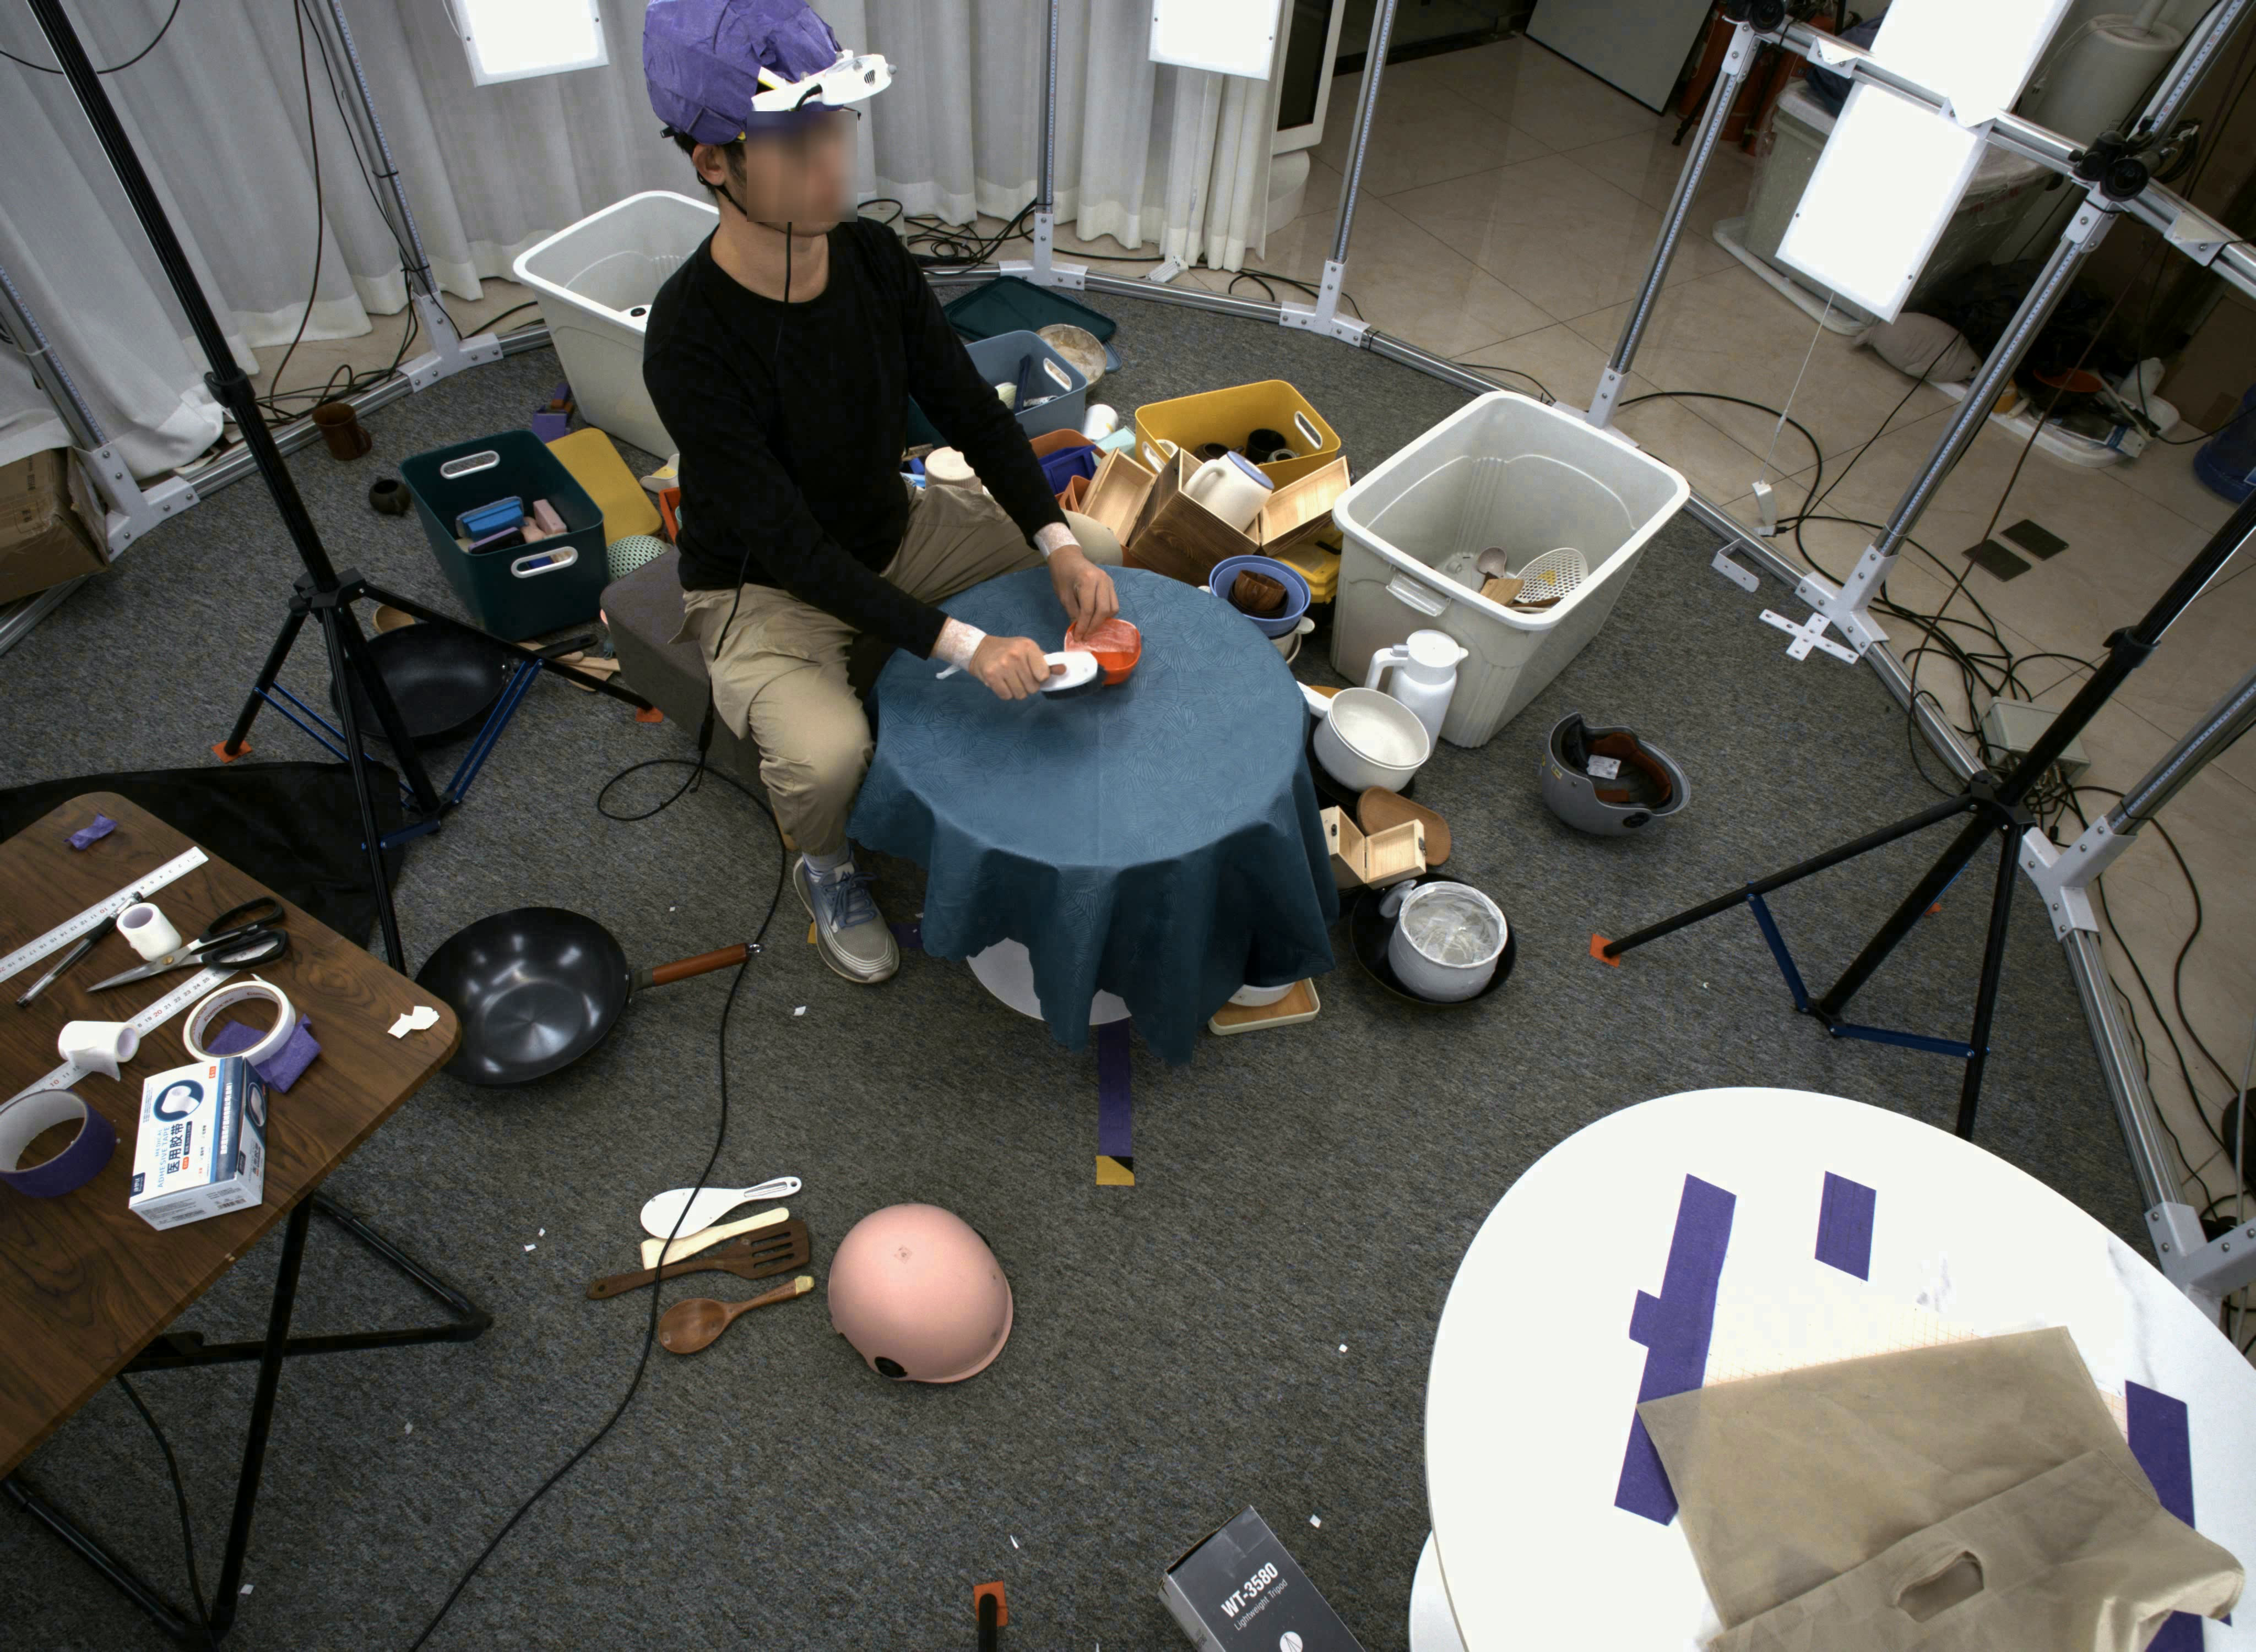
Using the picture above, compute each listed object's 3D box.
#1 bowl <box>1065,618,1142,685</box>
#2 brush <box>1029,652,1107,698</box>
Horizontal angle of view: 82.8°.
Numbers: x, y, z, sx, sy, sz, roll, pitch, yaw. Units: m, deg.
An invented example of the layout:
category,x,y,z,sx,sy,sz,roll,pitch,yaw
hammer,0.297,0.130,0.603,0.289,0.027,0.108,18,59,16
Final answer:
category,x,y,z,sx,sy,sz,roll,pitch,yaw
bowl,-0.037,-0.245,1.846,0.119,0.050,0.122,3,50,-3
brush,-0.088,-0.212,1.736,0.099,0.071,0.051,-5,68,26
